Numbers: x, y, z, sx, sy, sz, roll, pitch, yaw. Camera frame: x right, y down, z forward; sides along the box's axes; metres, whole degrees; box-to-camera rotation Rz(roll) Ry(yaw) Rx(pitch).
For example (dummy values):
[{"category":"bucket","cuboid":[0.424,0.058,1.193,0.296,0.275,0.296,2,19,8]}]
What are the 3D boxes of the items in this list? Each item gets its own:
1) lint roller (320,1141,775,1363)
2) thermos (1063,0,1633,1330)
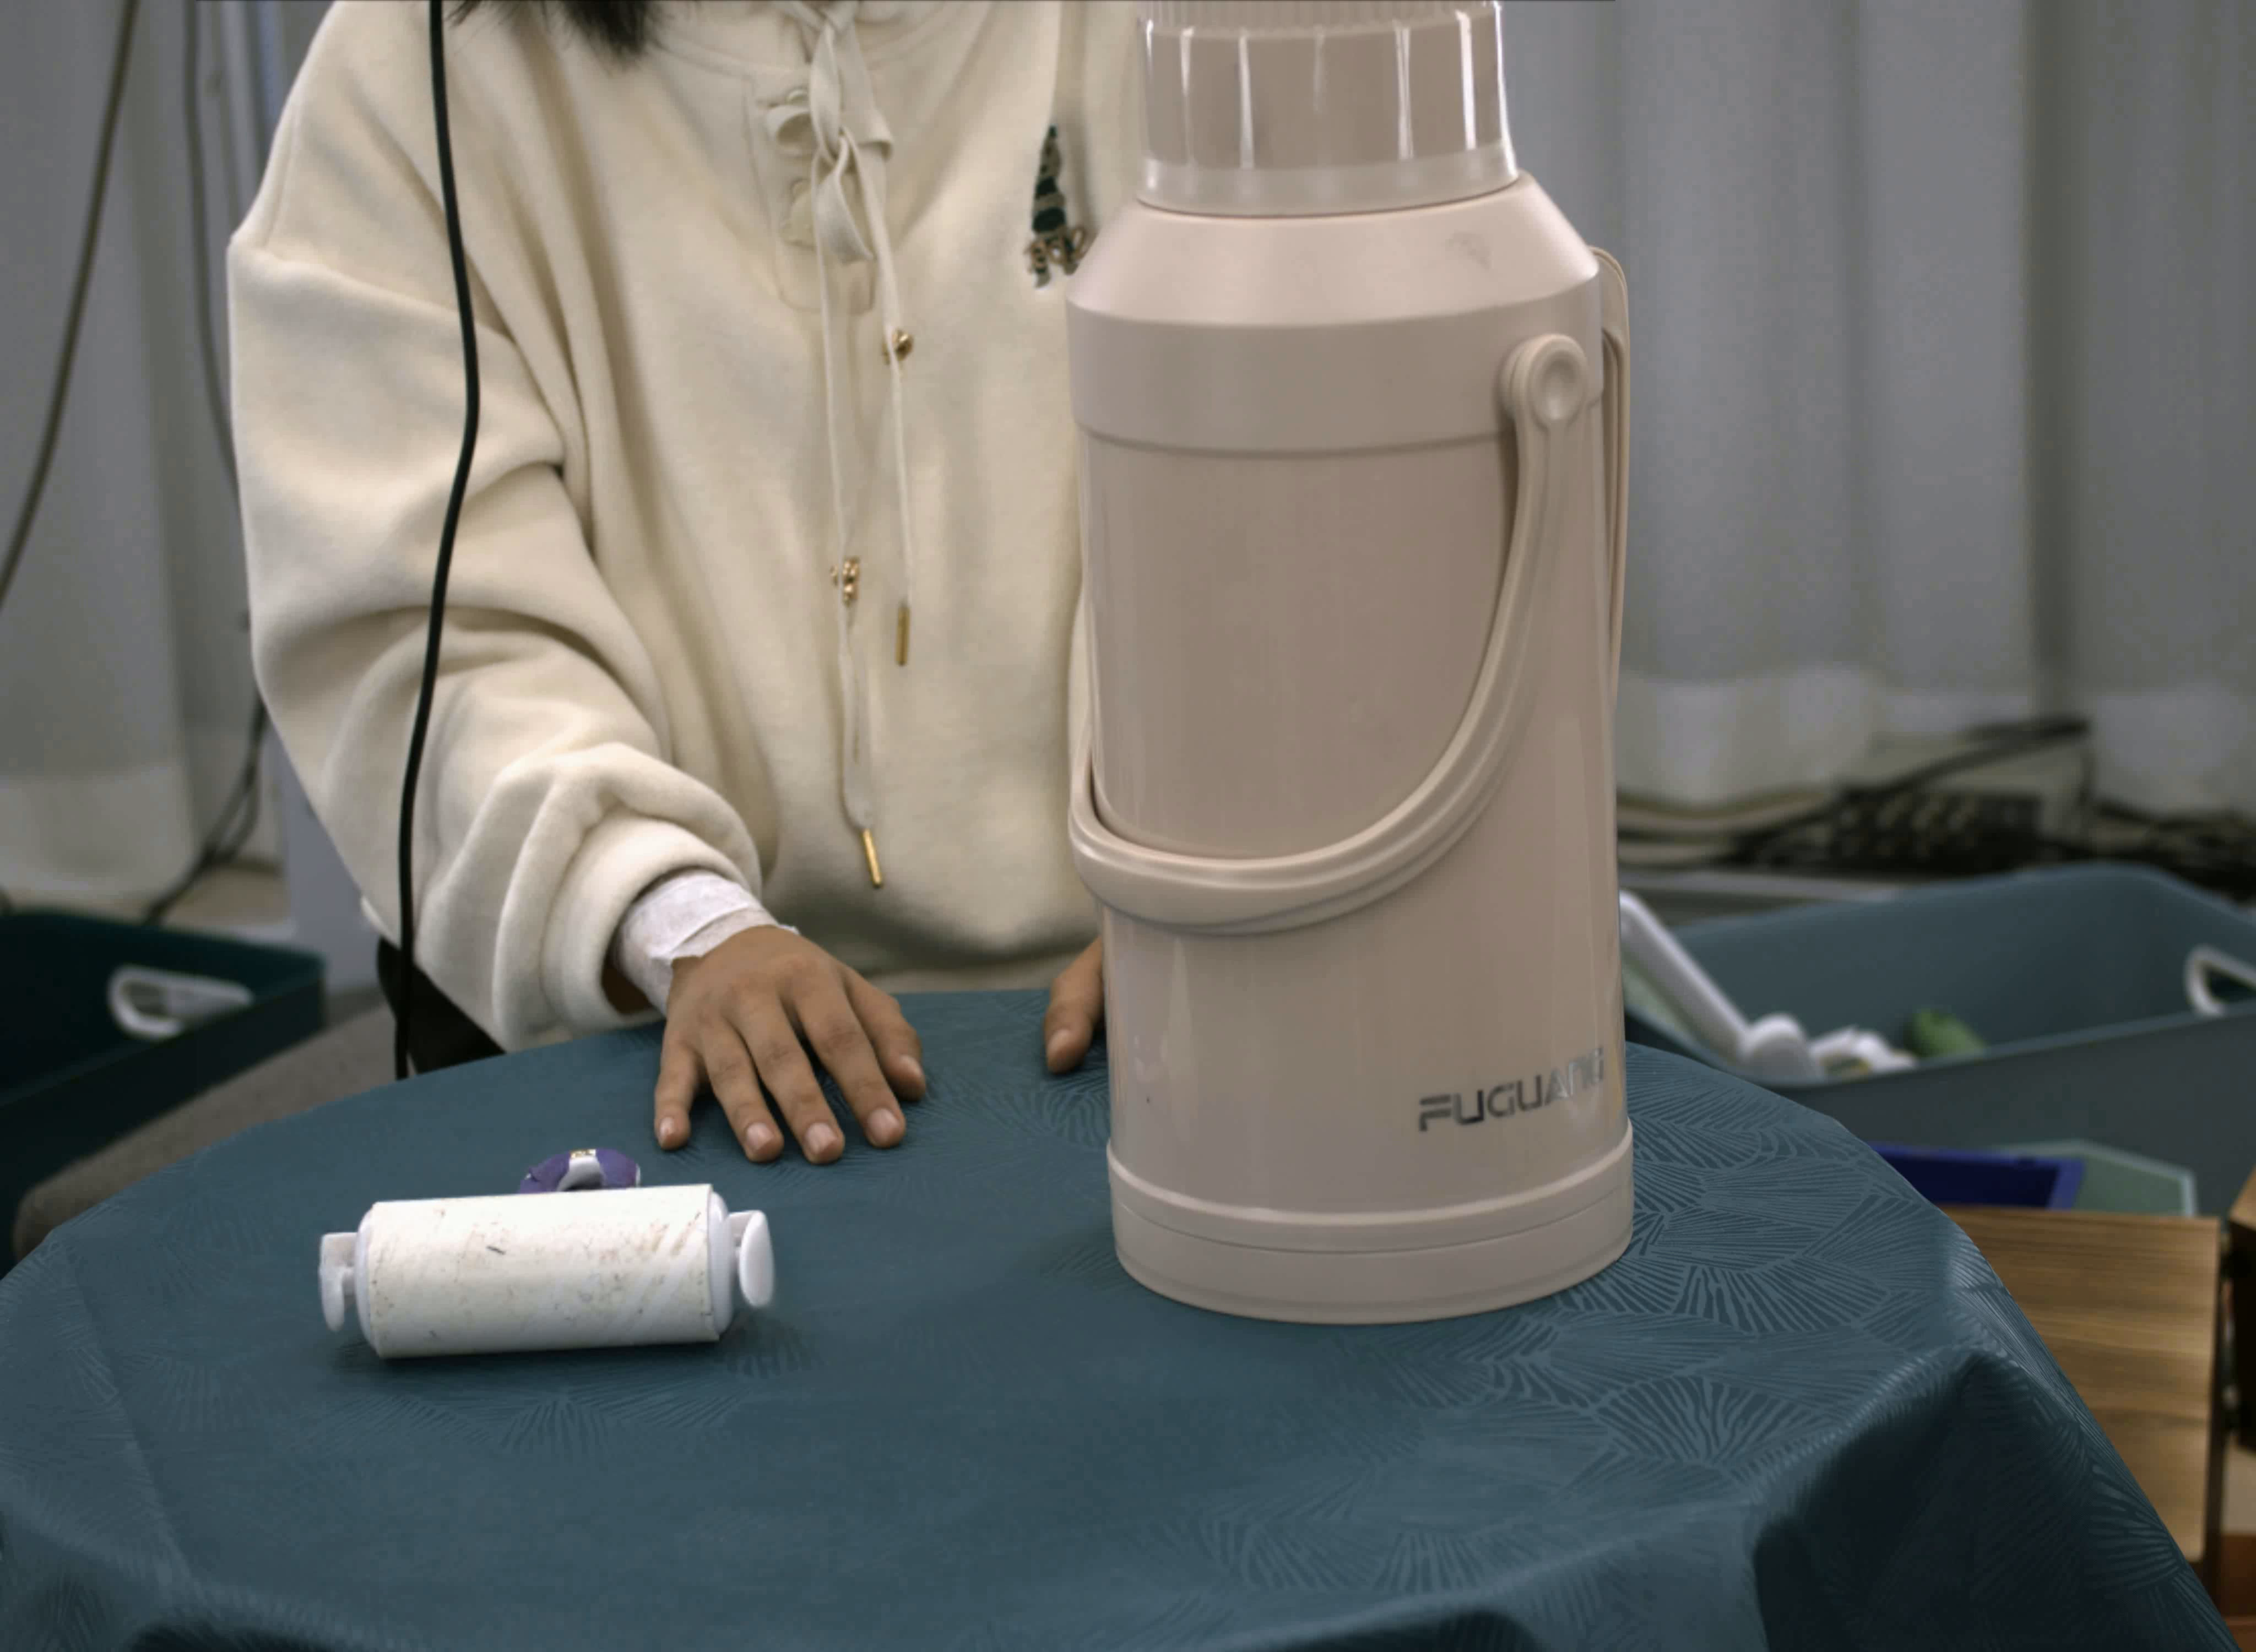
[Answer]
[{"category":"lint roller","cuboid":[-0.169,0.113,1.661,0.132,0.050,0.182,-3,17,2]},{"category":"thermos","cuboid":[0.075,-0.069,1.623,0.206,0.405,0.176,-15,18,-42]}]
